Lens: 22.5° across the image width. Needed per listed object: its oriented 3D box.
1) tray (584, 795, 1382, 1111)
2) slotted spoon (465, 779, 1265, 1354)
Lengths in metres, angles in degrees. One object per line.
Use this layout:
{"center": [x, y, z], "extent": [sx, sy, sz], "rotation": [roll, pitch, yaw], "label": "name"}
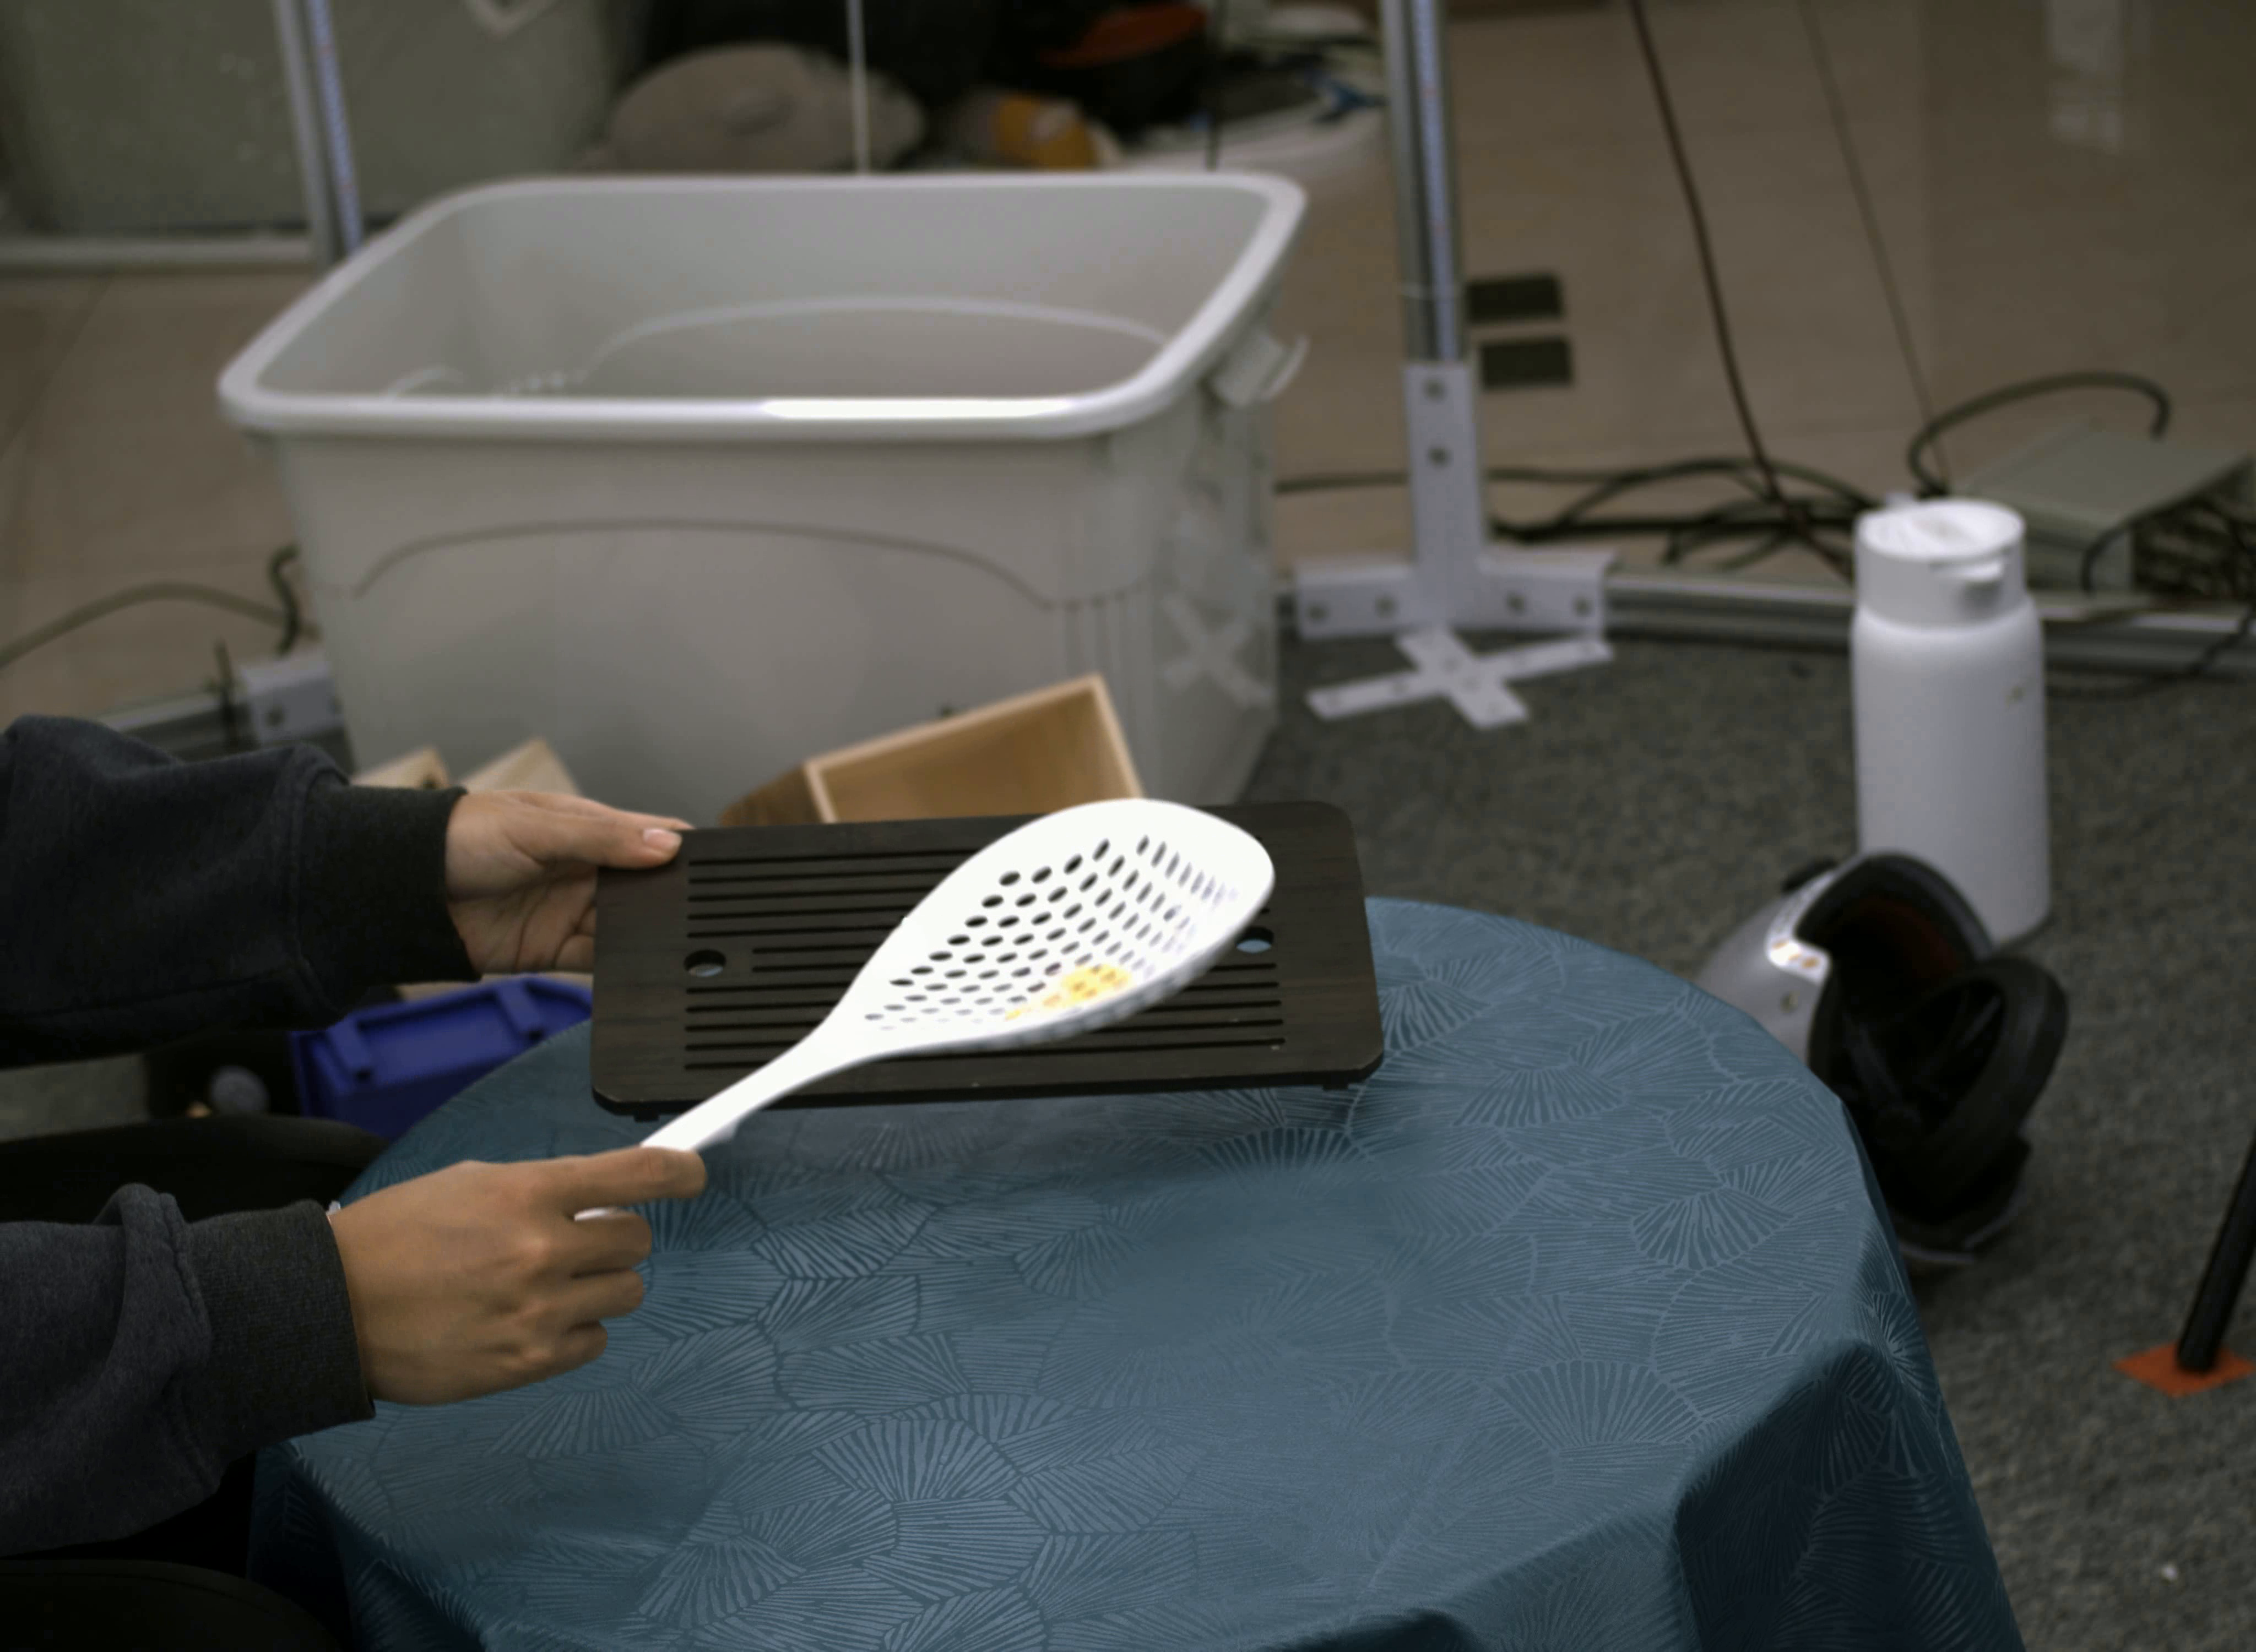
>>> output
{"center": [-0.058, 0.050, 2.219], "extent": [0.305, 0.019, 0.167], "rotation": [-2, 38, -2], "label": "tray"}
{"center": [-0.099, 0.084, 2.019], "extent": [0.345, 0.051, 0.135], "rotation": [-29, 31, -26], "label": "slotted spoon"}
